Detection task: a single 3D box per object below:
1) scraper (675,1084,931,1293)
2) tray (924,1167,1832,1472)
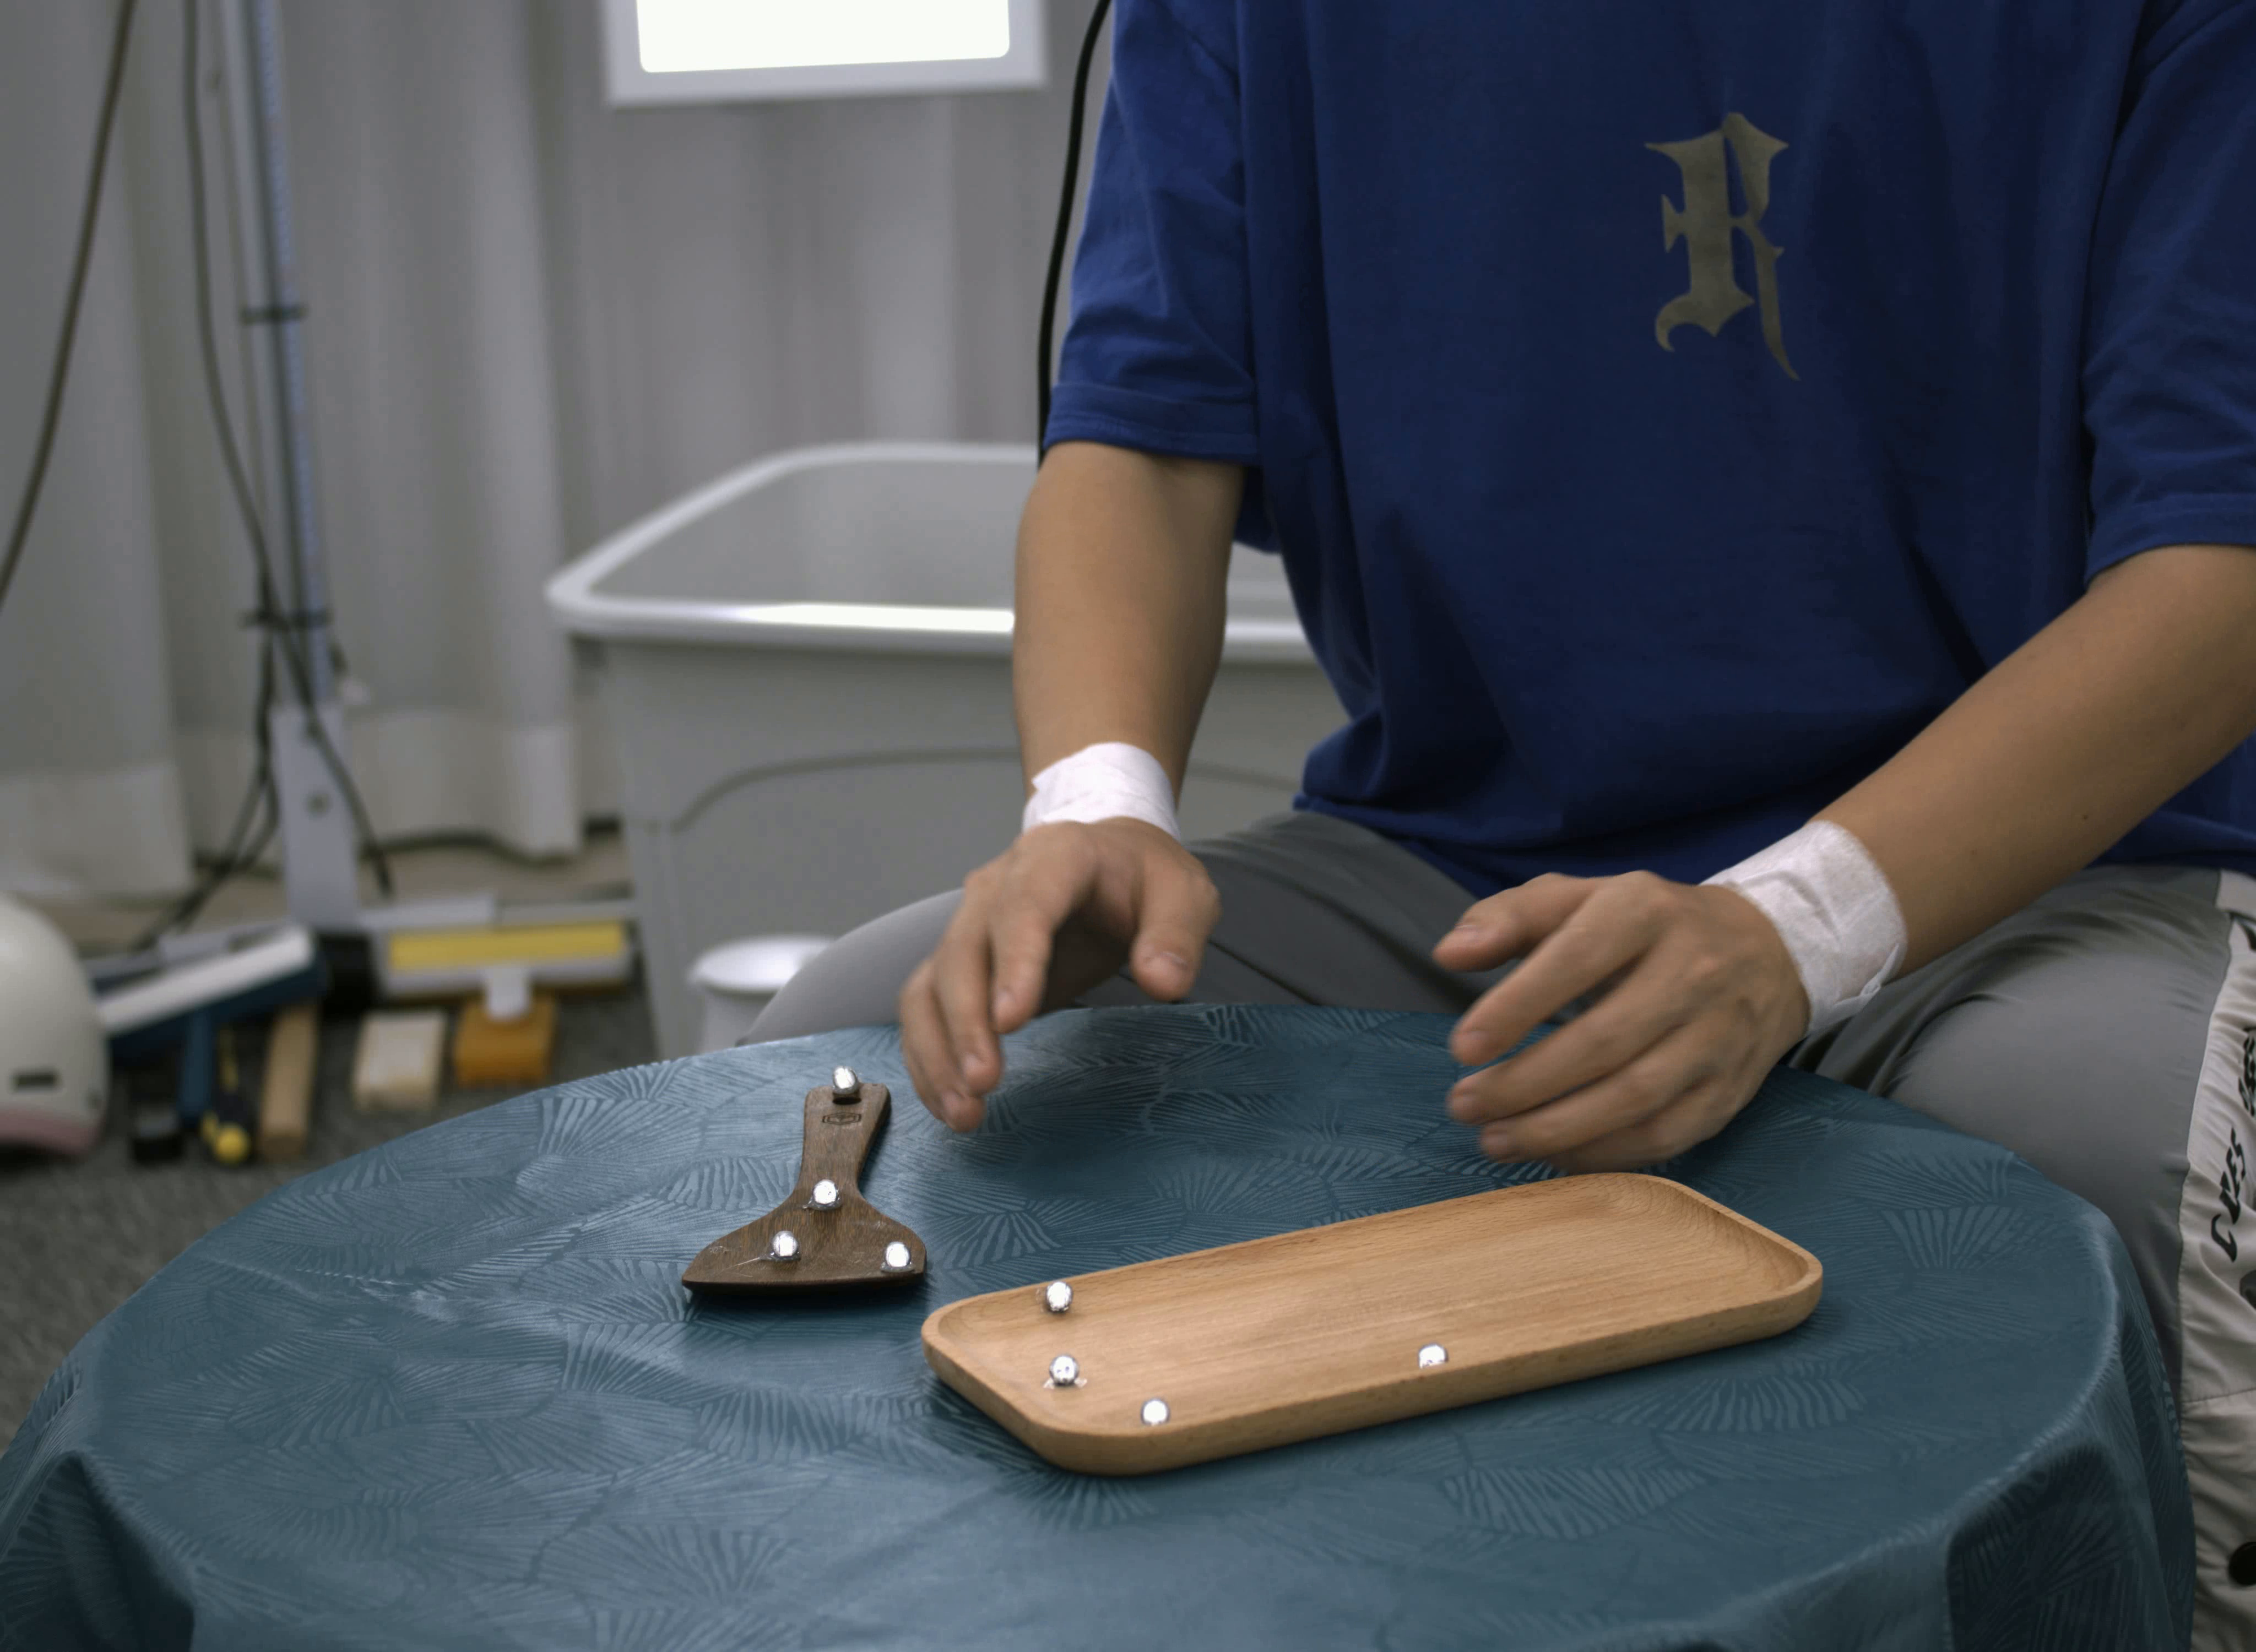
[{"bbox_3d":[-0.095,0.113,1.717,0.075,0.011,0.212,-1,14,2],"label":"scraper"},{"bbox_3d":[0.072,0.140,1.567,0.249,0.023,0.132,-9,18,-23],"label":"tray"}]
